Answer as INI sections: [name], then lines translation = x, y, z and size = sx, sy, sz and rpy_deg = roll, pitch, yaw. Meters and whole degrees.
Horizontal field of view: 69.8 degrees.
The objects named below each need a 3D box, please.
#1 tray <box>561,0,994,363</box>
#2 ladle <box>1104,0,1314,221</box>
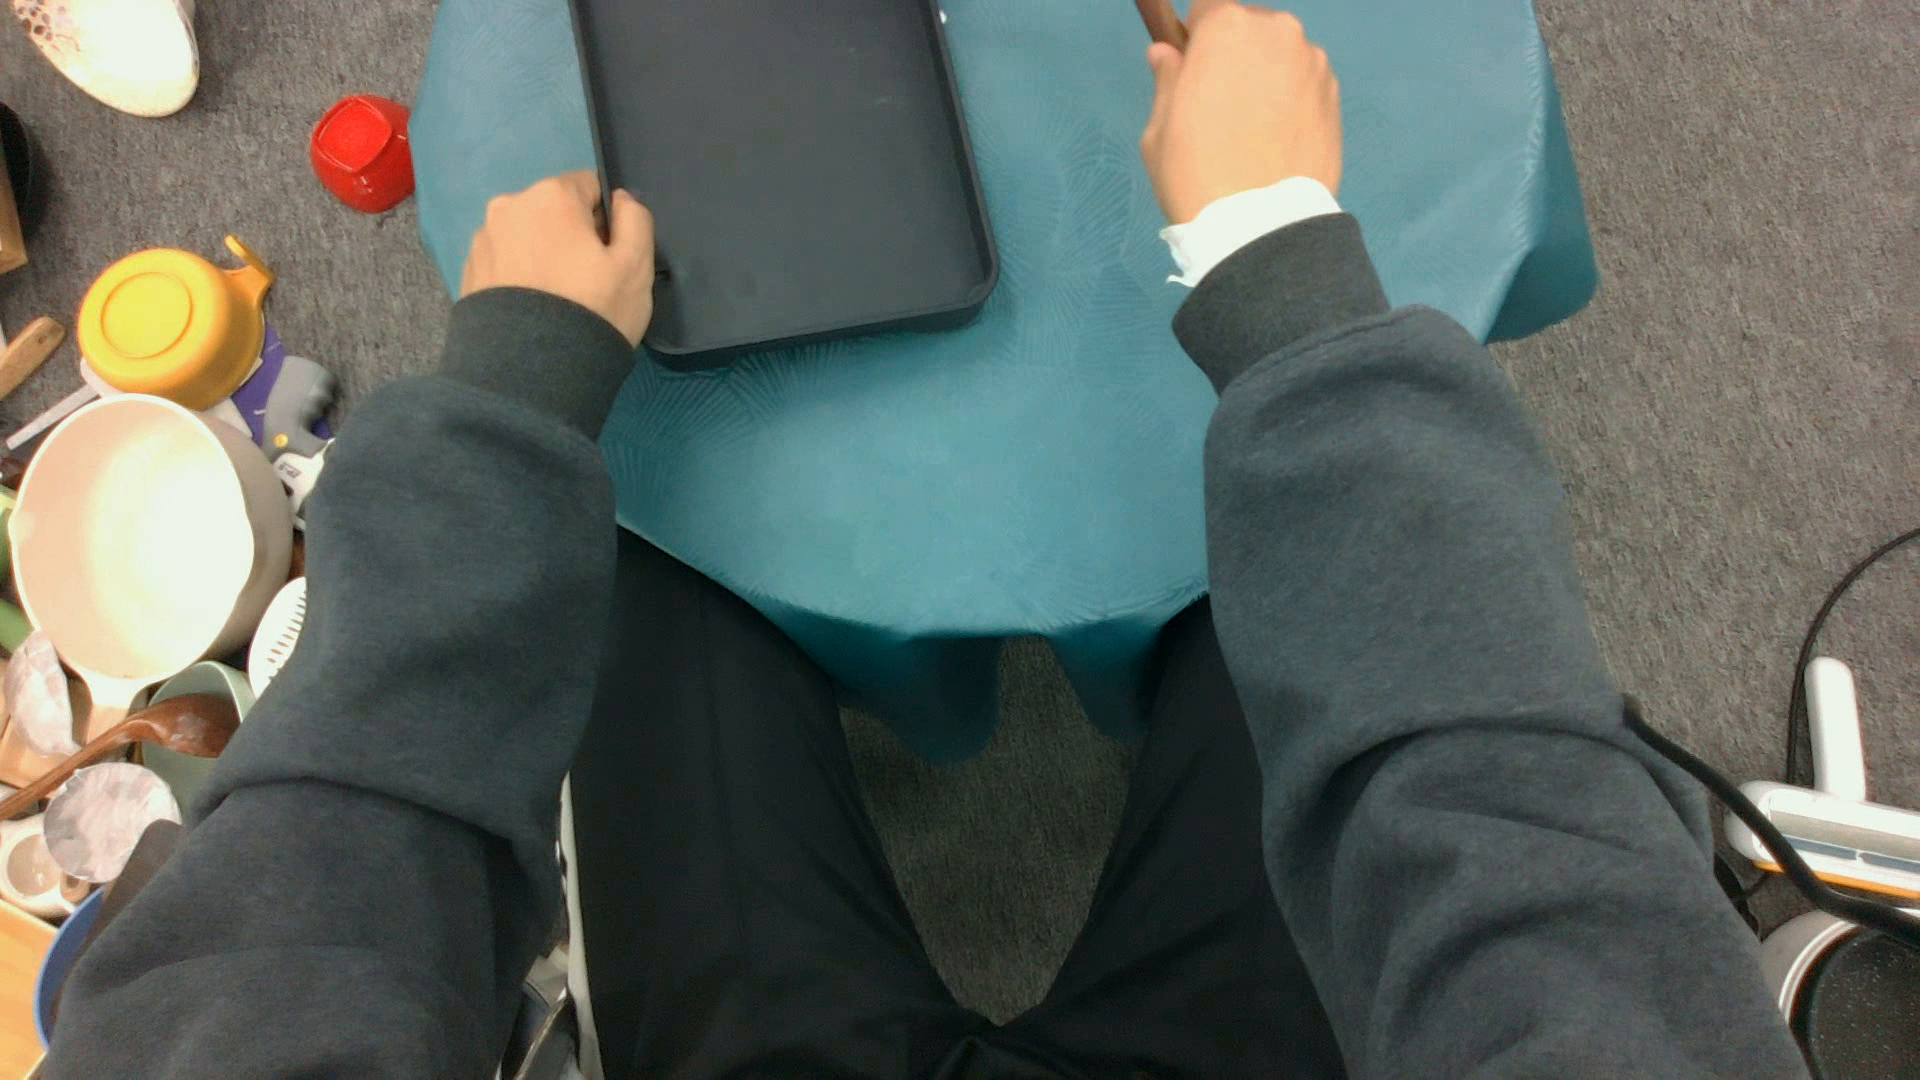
[tray]
translation = -0.104, -0.251, 0.699
size = 0.184, 0.037, 0.318
rpy_deg = -11, 77, -10
[ladle]
translation = 0.064, -0.239, 0.615
size = 0.065, 0.076, 0.260
rpy_deg = -39, 94, -31
